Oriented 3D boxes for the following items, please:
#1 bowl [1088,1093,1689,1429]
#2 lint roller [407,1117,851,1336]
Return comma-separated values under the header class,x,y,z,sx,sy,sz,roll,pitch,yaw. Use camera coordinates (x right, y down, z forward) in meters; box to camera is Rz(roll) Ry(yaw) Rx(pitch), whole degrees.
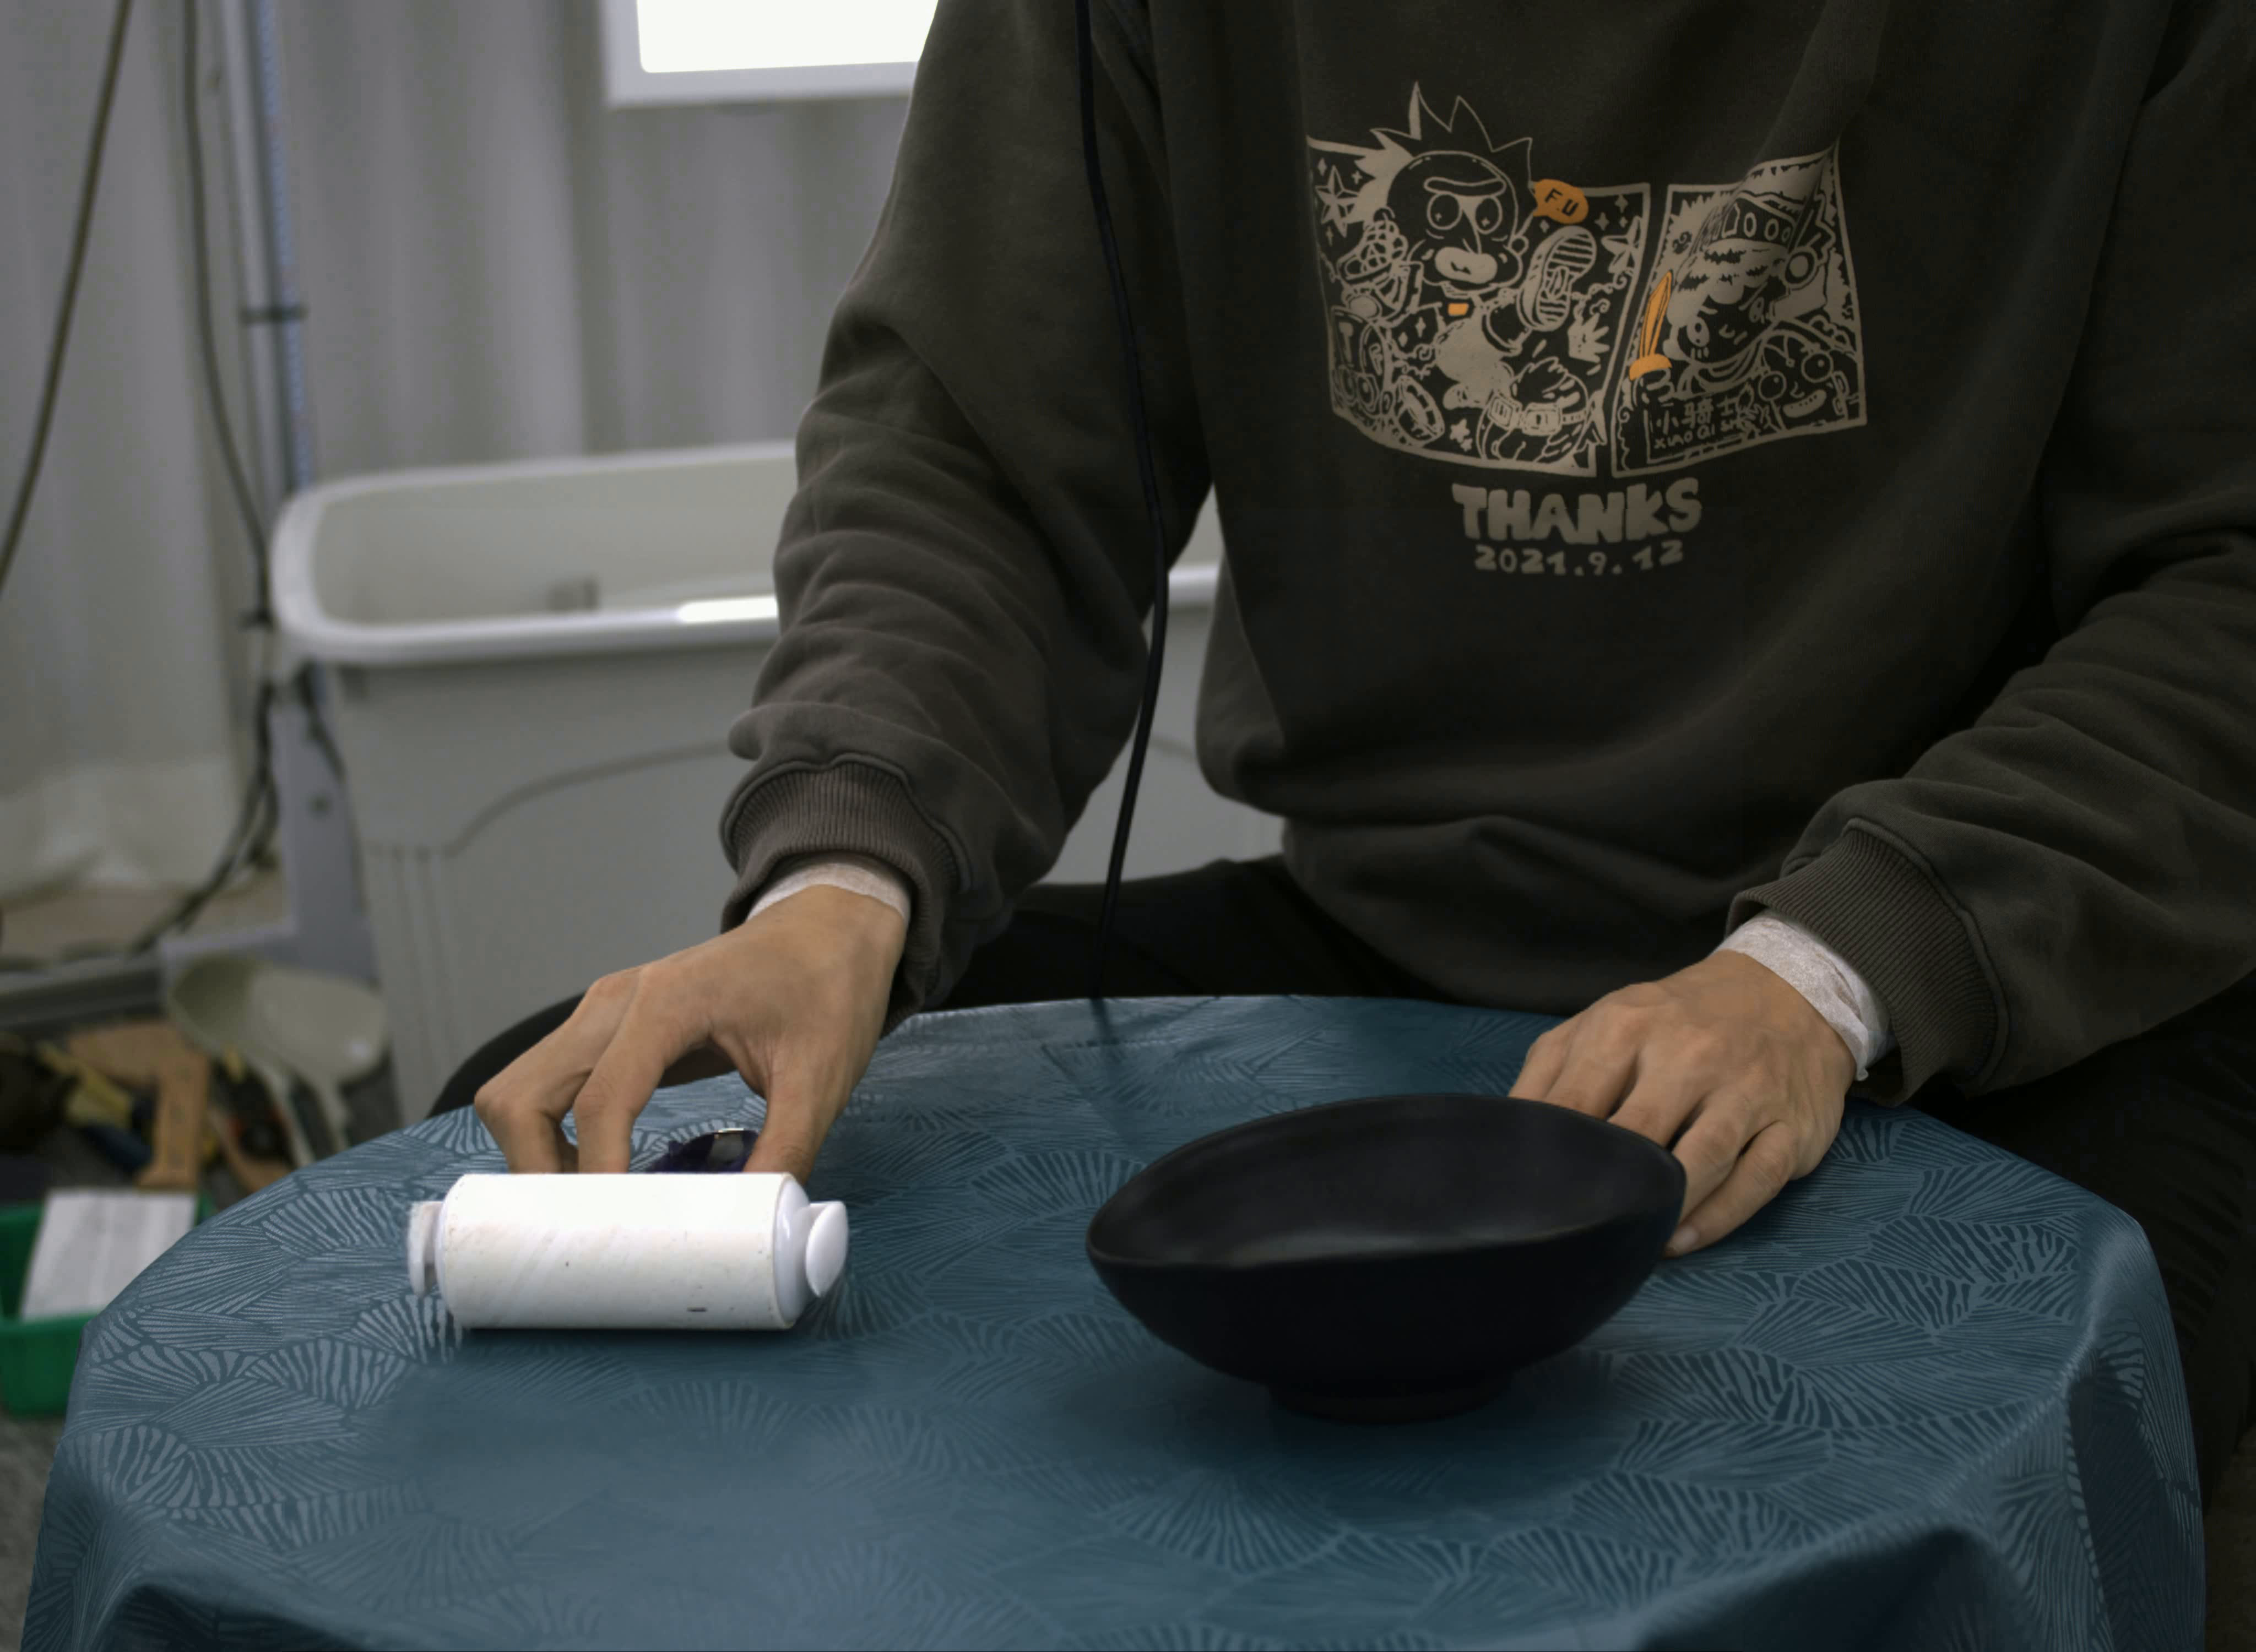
class,x,y,z,sx,sy,sz,roll,pitch,yaw
bowl,0.075,0.128,1.537,0.169,0.066,0.138,-6,14,-5
lint roller,-0.137,0.108,1.682,0.133,0.050,0.182,0,18,11
